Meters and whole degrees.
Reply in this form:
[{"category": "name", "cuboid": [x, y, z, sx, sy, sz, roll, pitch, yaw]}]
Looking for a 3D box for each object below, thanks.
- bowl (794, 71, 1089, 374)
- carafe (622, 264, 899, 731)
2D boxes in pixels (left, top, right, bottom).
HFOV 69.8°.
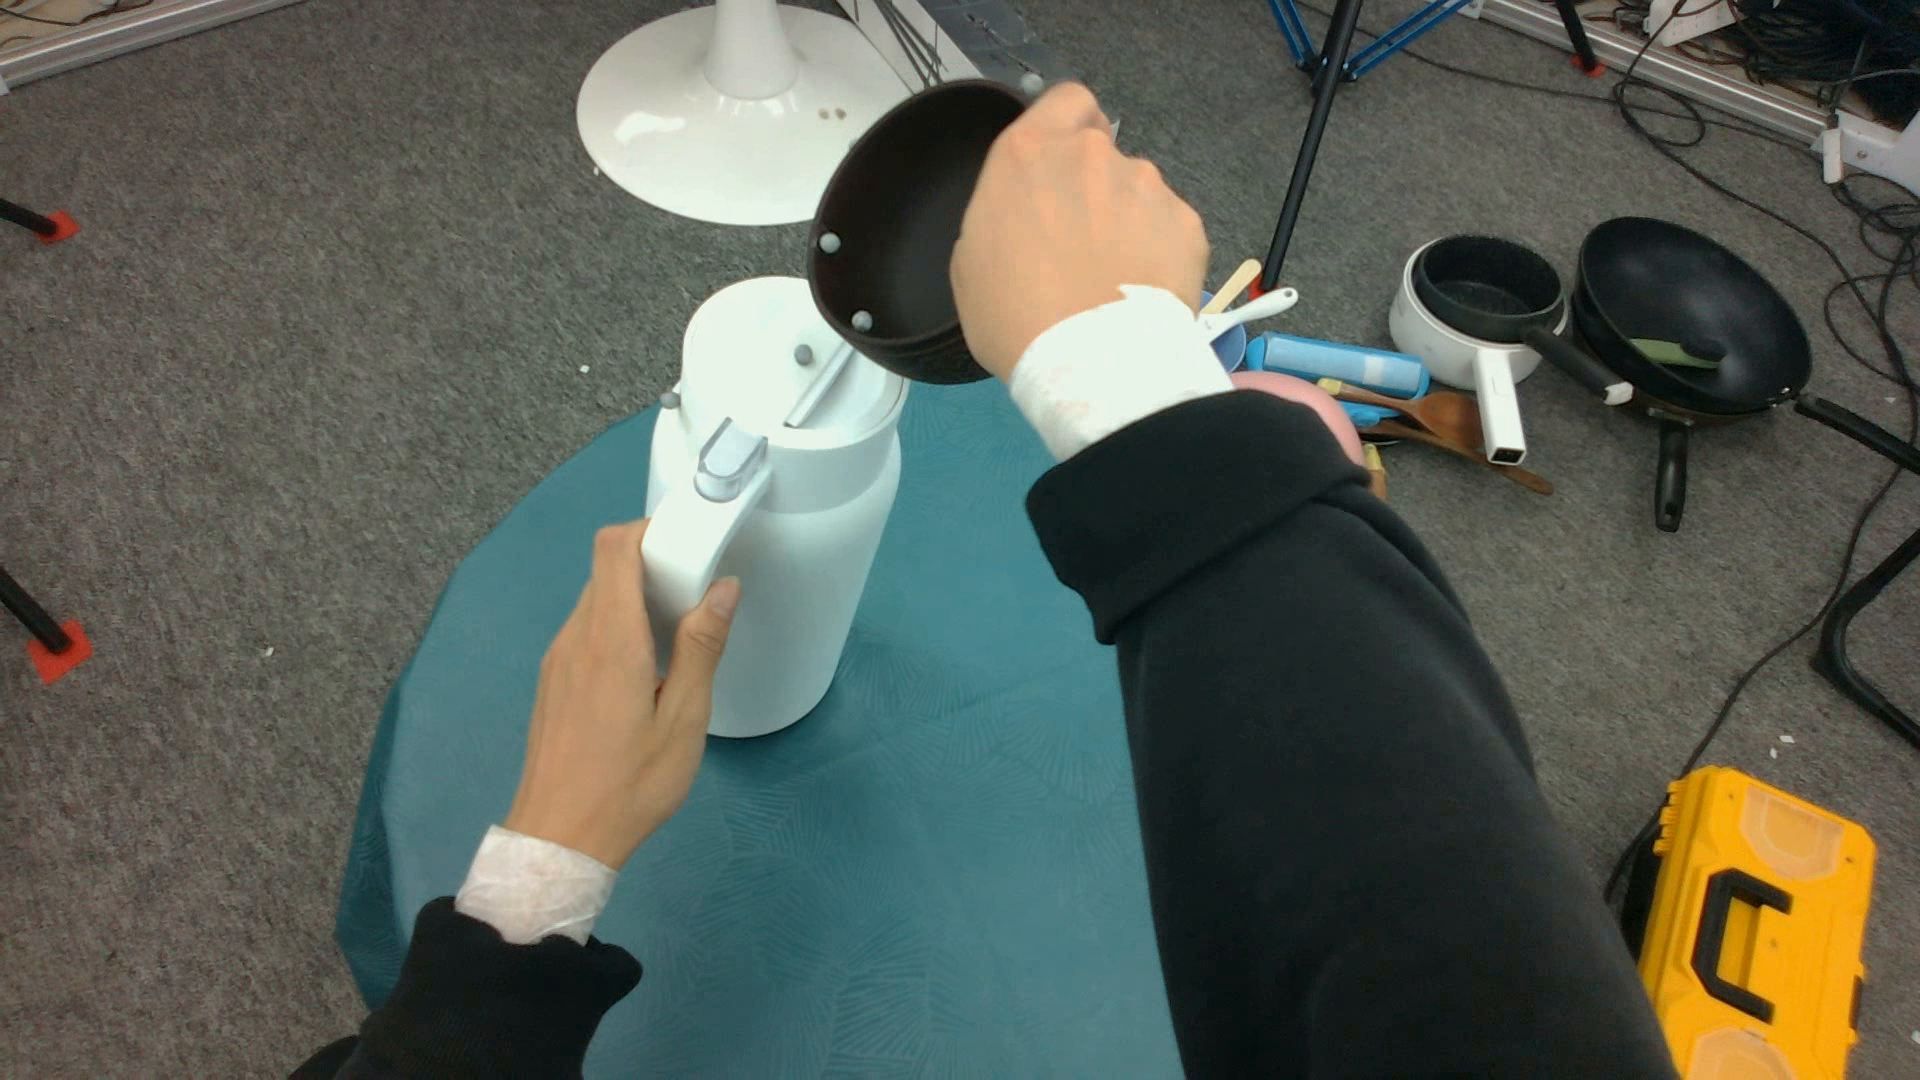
[{"category": "bowl", "cuboid": [-0.001, -0.120, 0.555, 0.117, 0.070, 0.118, -13, 63, 28]}, {"category": "carafe", "cuboid": [-0.111, 0.002, 0.688, 0.124, 0.267, 0.174, 27, 53, 0]}]
